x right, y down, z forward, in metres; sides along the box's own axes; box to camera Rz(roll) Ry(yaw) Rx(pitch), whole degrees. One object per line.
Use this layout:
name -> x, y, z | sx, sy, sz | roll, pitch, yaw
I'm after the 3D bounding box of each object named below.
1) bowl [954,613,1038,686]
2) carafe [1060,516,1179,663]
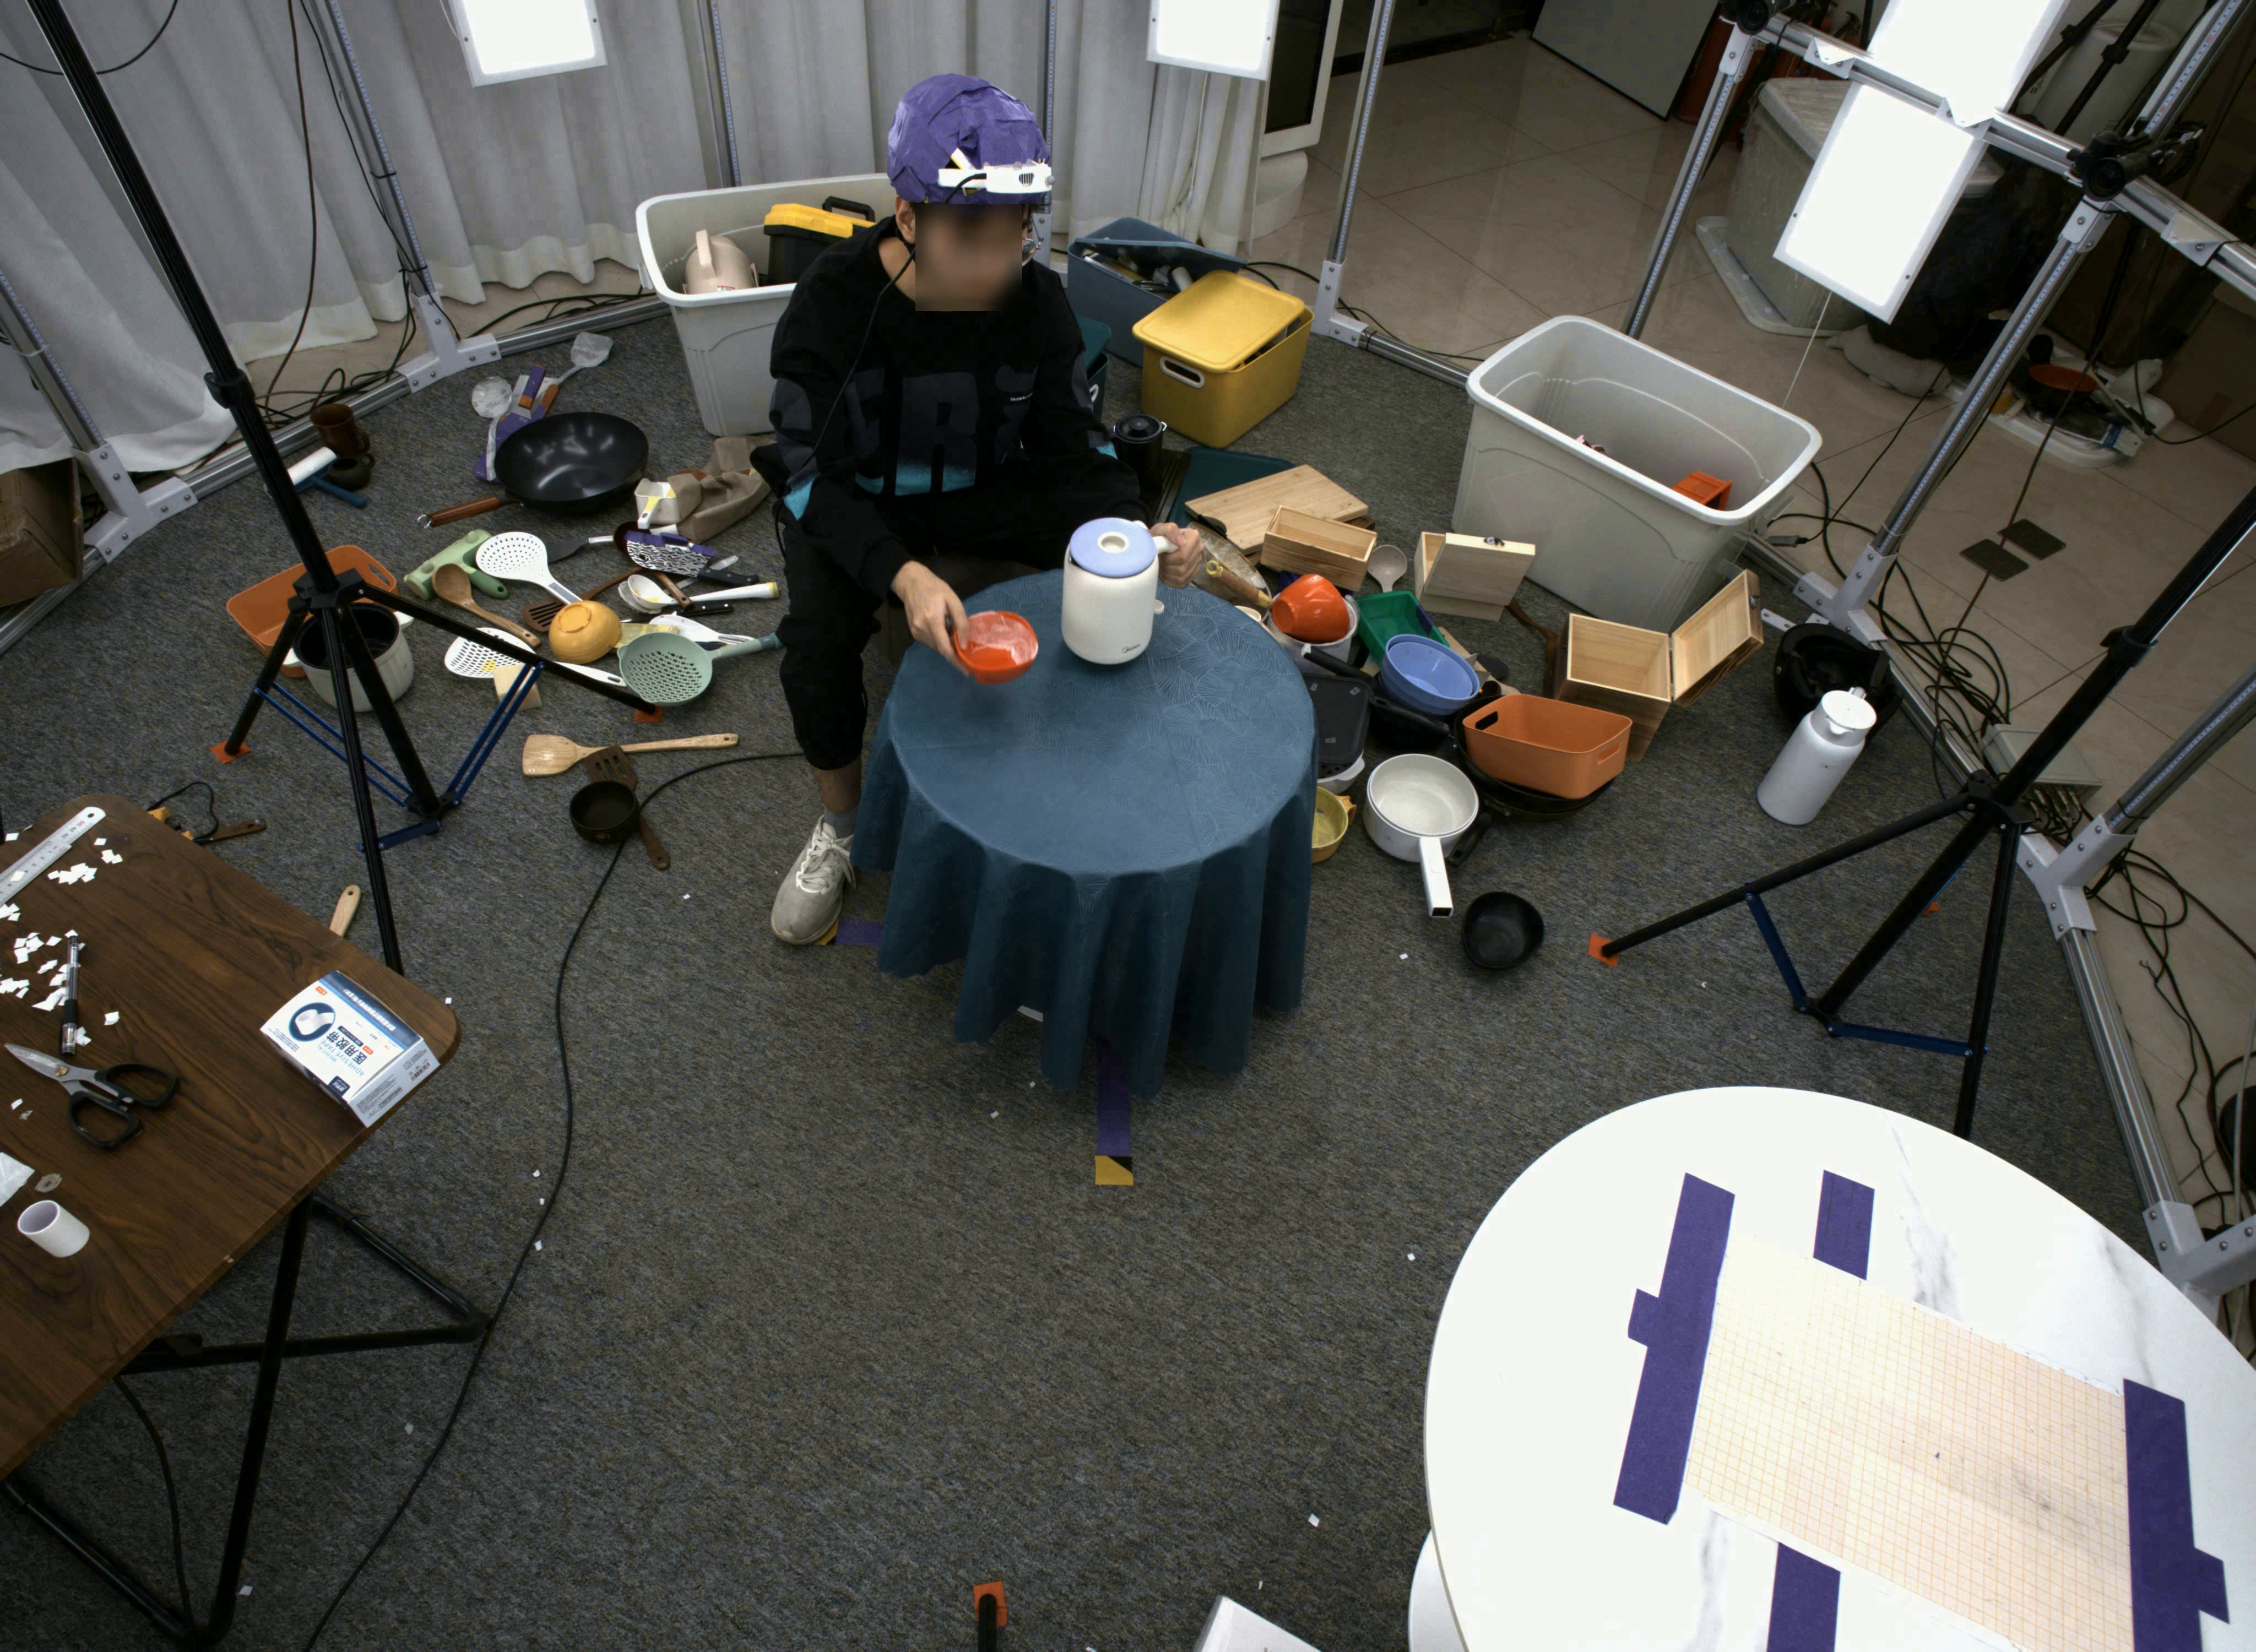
bowl -> -0.180, -0.233, 1.749 | 0.119, 0.050, 0.122 | 3, 53, -4
carafe -> -0.006, -0.341, 1.821 | 0.192, 0.178, 0.135 | -24, 58, -25
